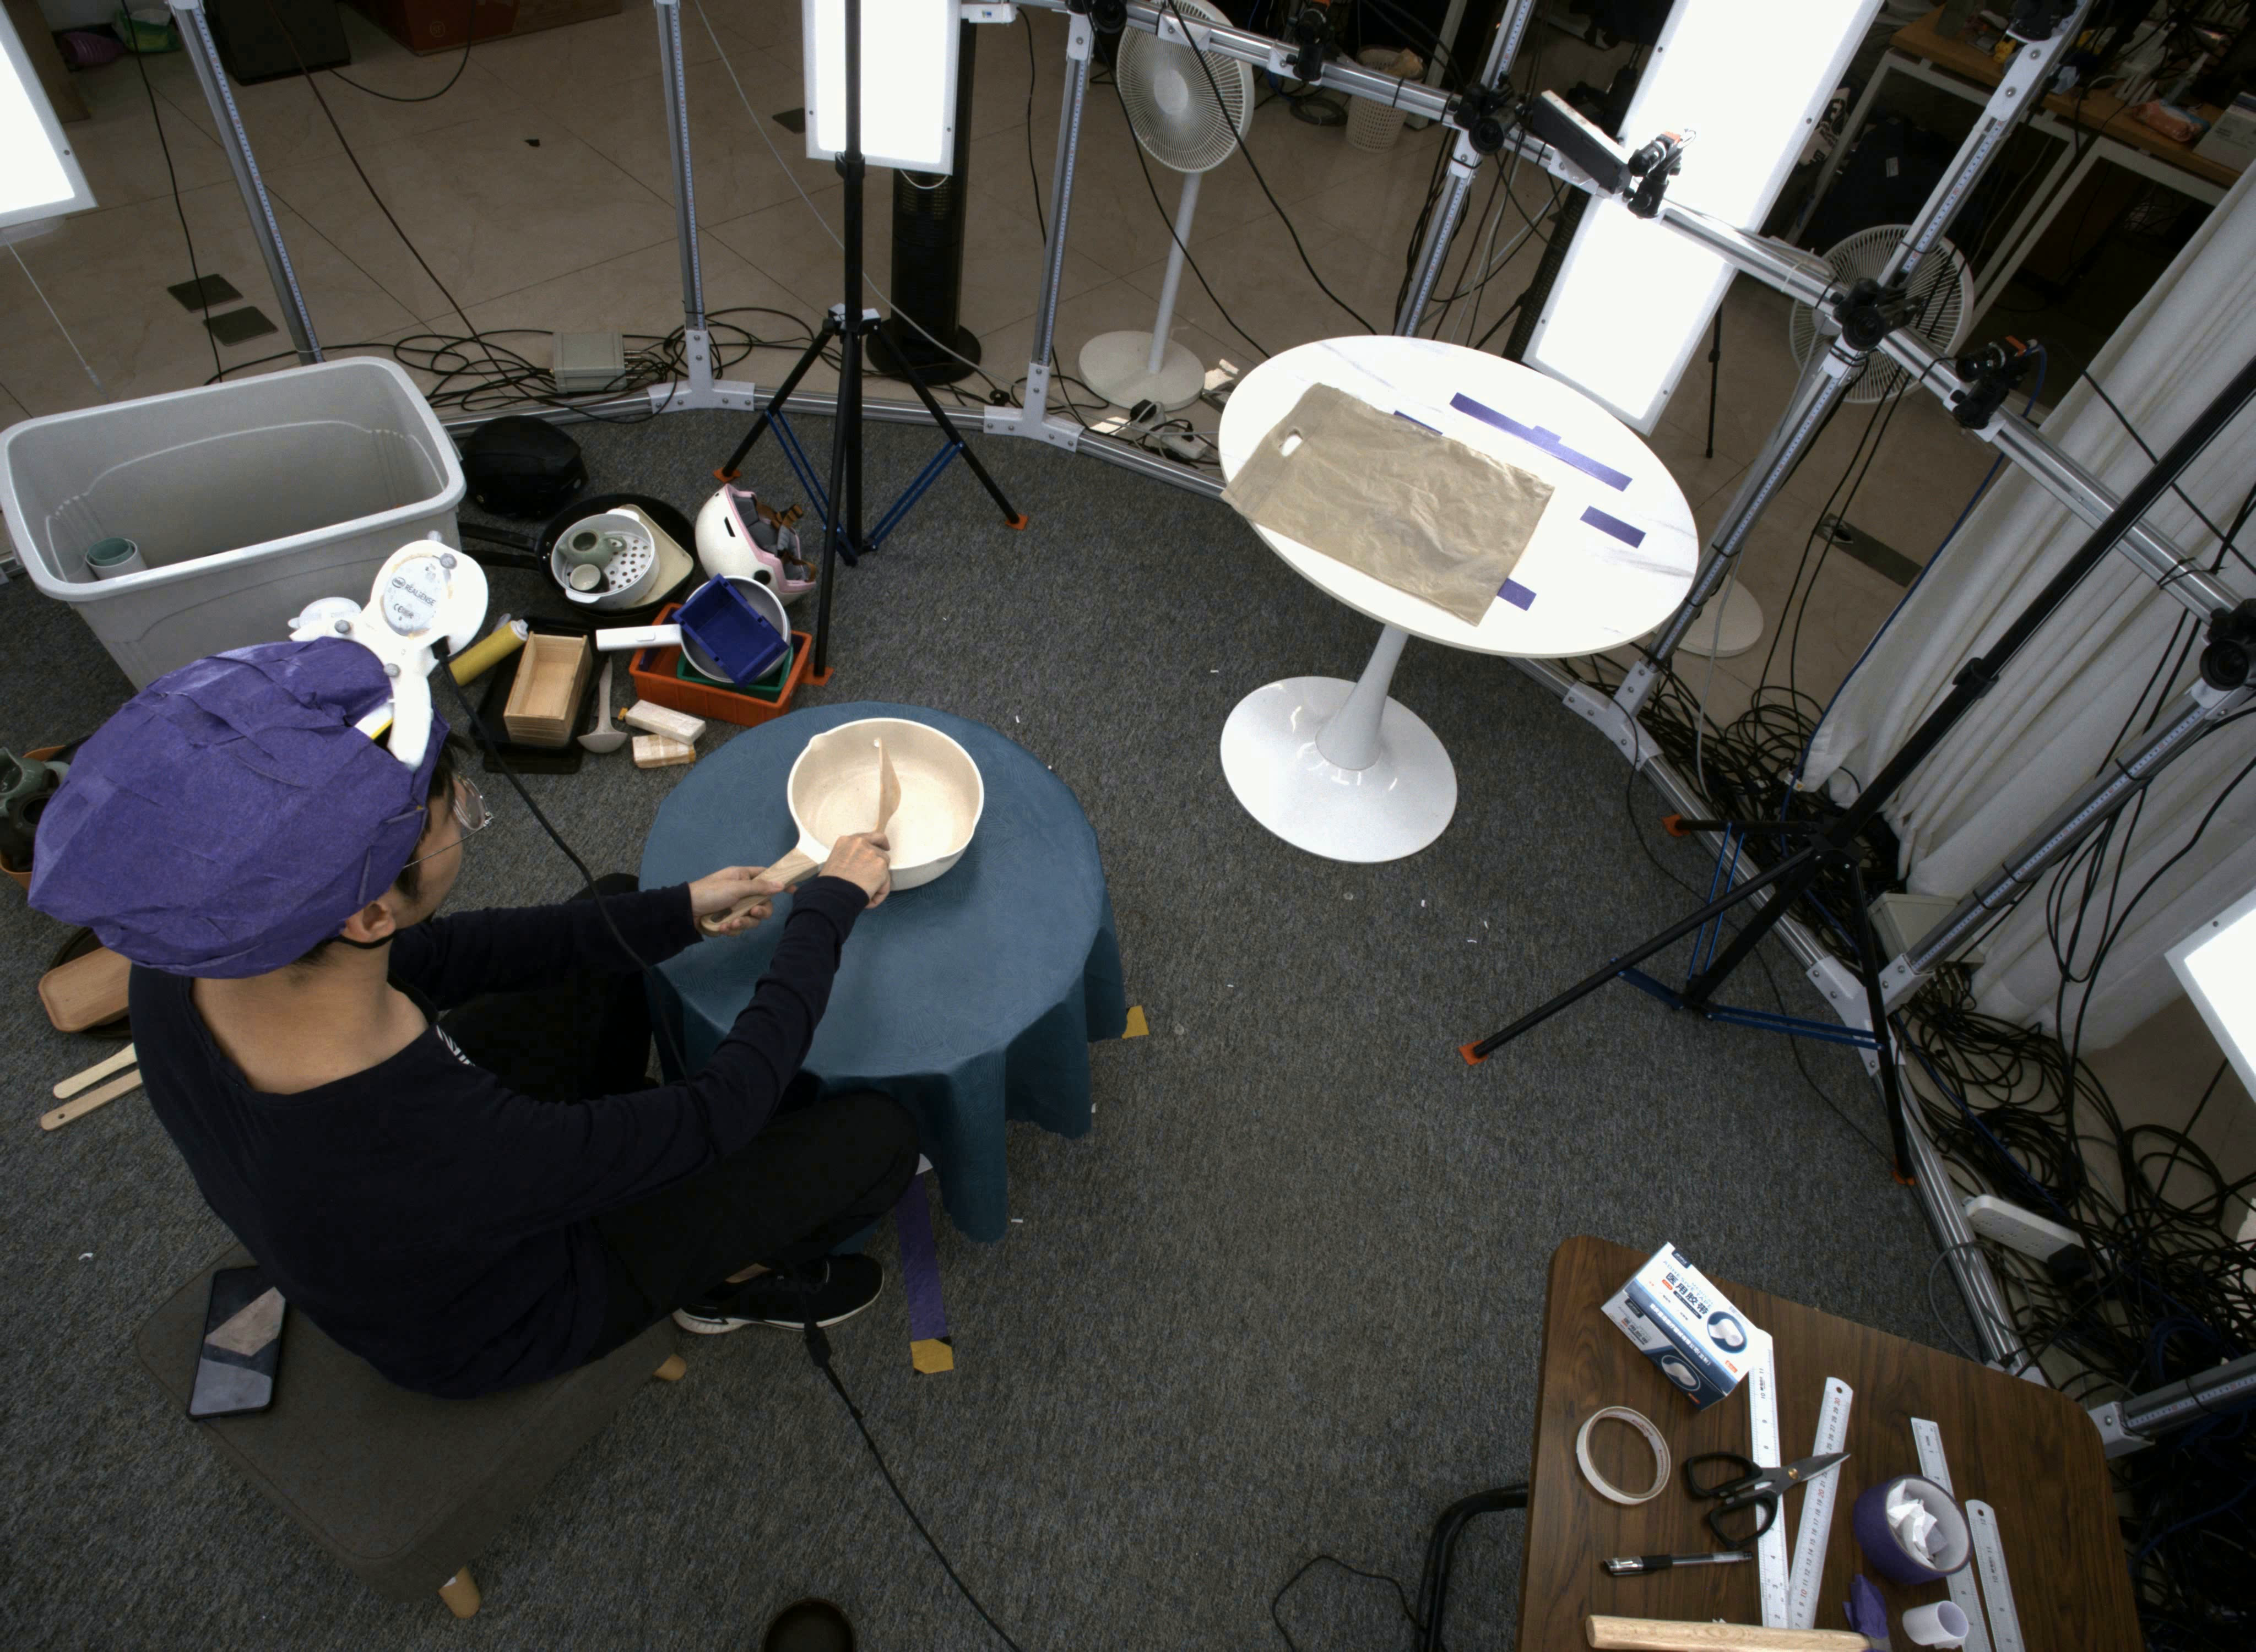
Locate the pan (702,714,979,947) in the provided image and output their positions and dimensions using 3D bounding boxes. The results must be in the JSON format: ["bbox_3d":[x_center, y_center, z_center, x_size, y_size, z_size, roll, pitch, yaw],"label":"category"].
[{"bbox_3d":[-0.375,0.025,1.652,0.258,0.104,0.434,35,54,12],"label":"pan"}]

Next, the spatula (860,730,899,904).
[{"bbox_3d":[-0.304,-0.008,1.577,0.016,0.083,0.320,-12,34,5],"label":"spatula"}]
